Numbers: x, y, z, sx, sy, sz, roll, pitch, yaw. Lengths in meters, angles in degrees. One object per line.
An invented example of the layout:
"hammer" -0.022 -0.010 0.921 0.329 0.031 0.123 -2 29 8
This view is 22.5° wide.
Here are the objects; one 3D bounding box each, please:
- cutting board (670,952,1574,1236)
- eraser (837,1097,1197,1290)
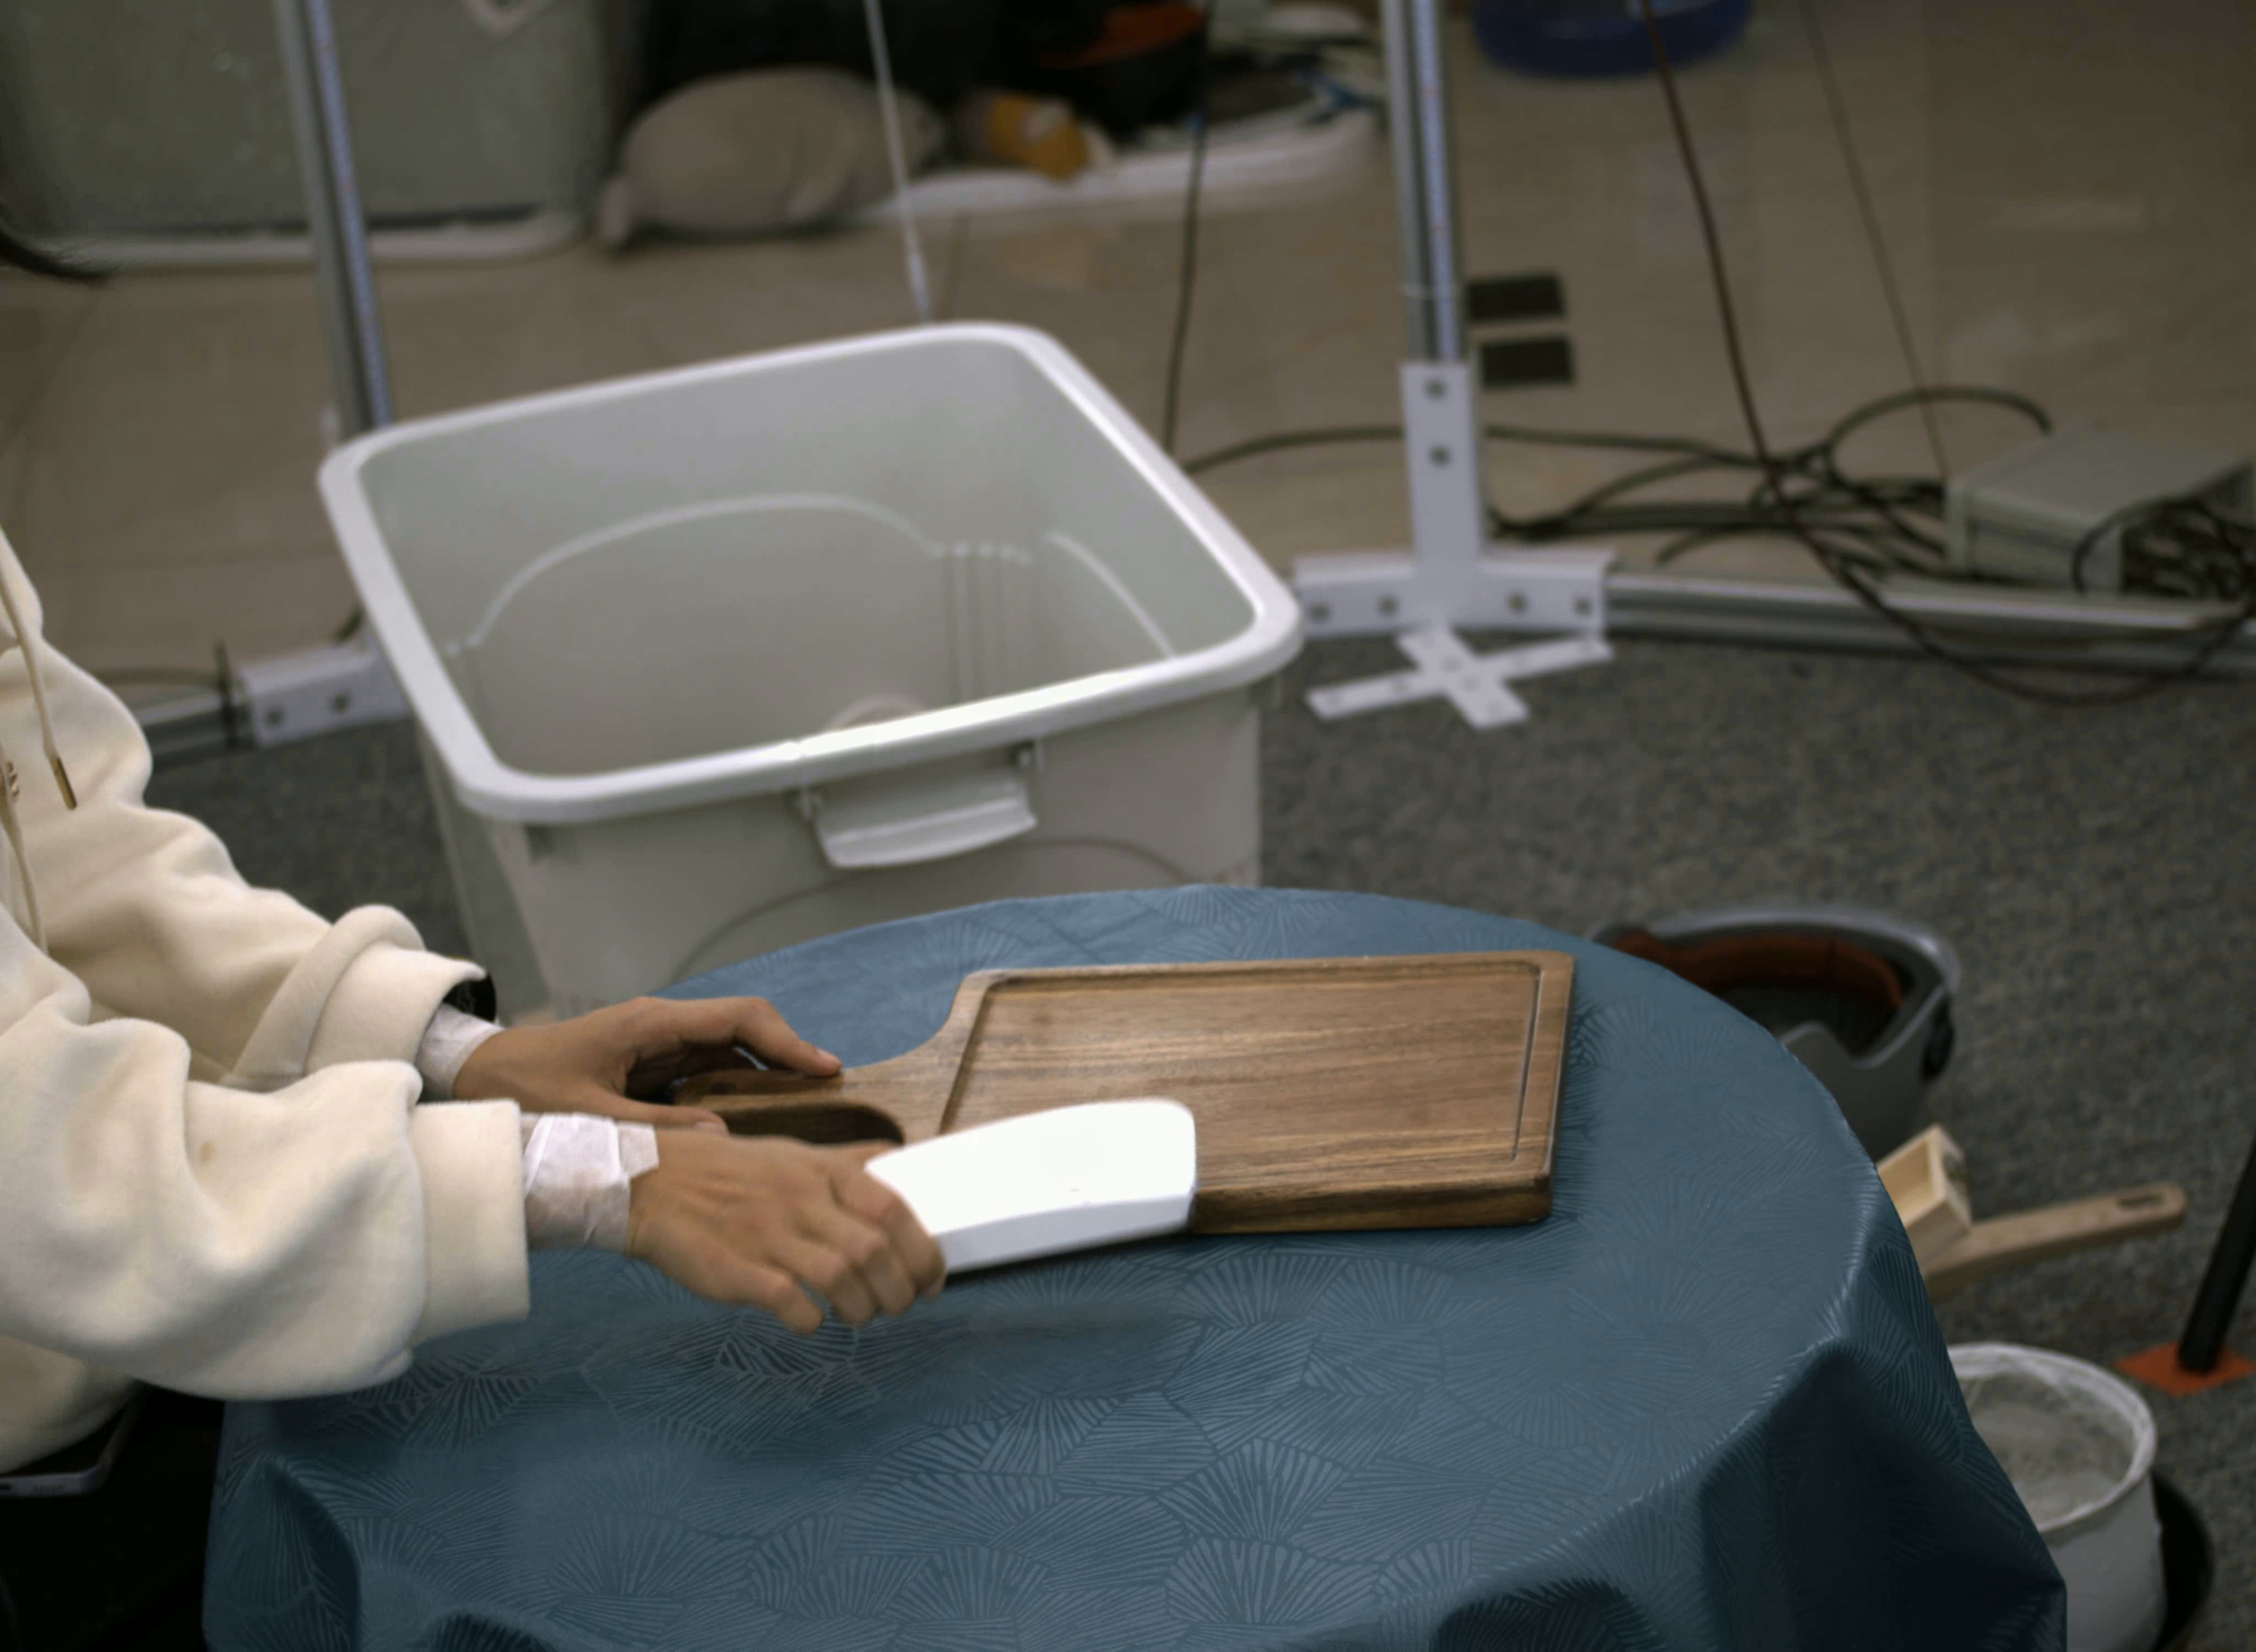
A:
"cutting board" -0.005 0.105 2.198 0.351 0.023 0.198 -2 25 8
"eraser" -0.039 0.130 2.043 0.131 0.035 0.062 -11 30 5
